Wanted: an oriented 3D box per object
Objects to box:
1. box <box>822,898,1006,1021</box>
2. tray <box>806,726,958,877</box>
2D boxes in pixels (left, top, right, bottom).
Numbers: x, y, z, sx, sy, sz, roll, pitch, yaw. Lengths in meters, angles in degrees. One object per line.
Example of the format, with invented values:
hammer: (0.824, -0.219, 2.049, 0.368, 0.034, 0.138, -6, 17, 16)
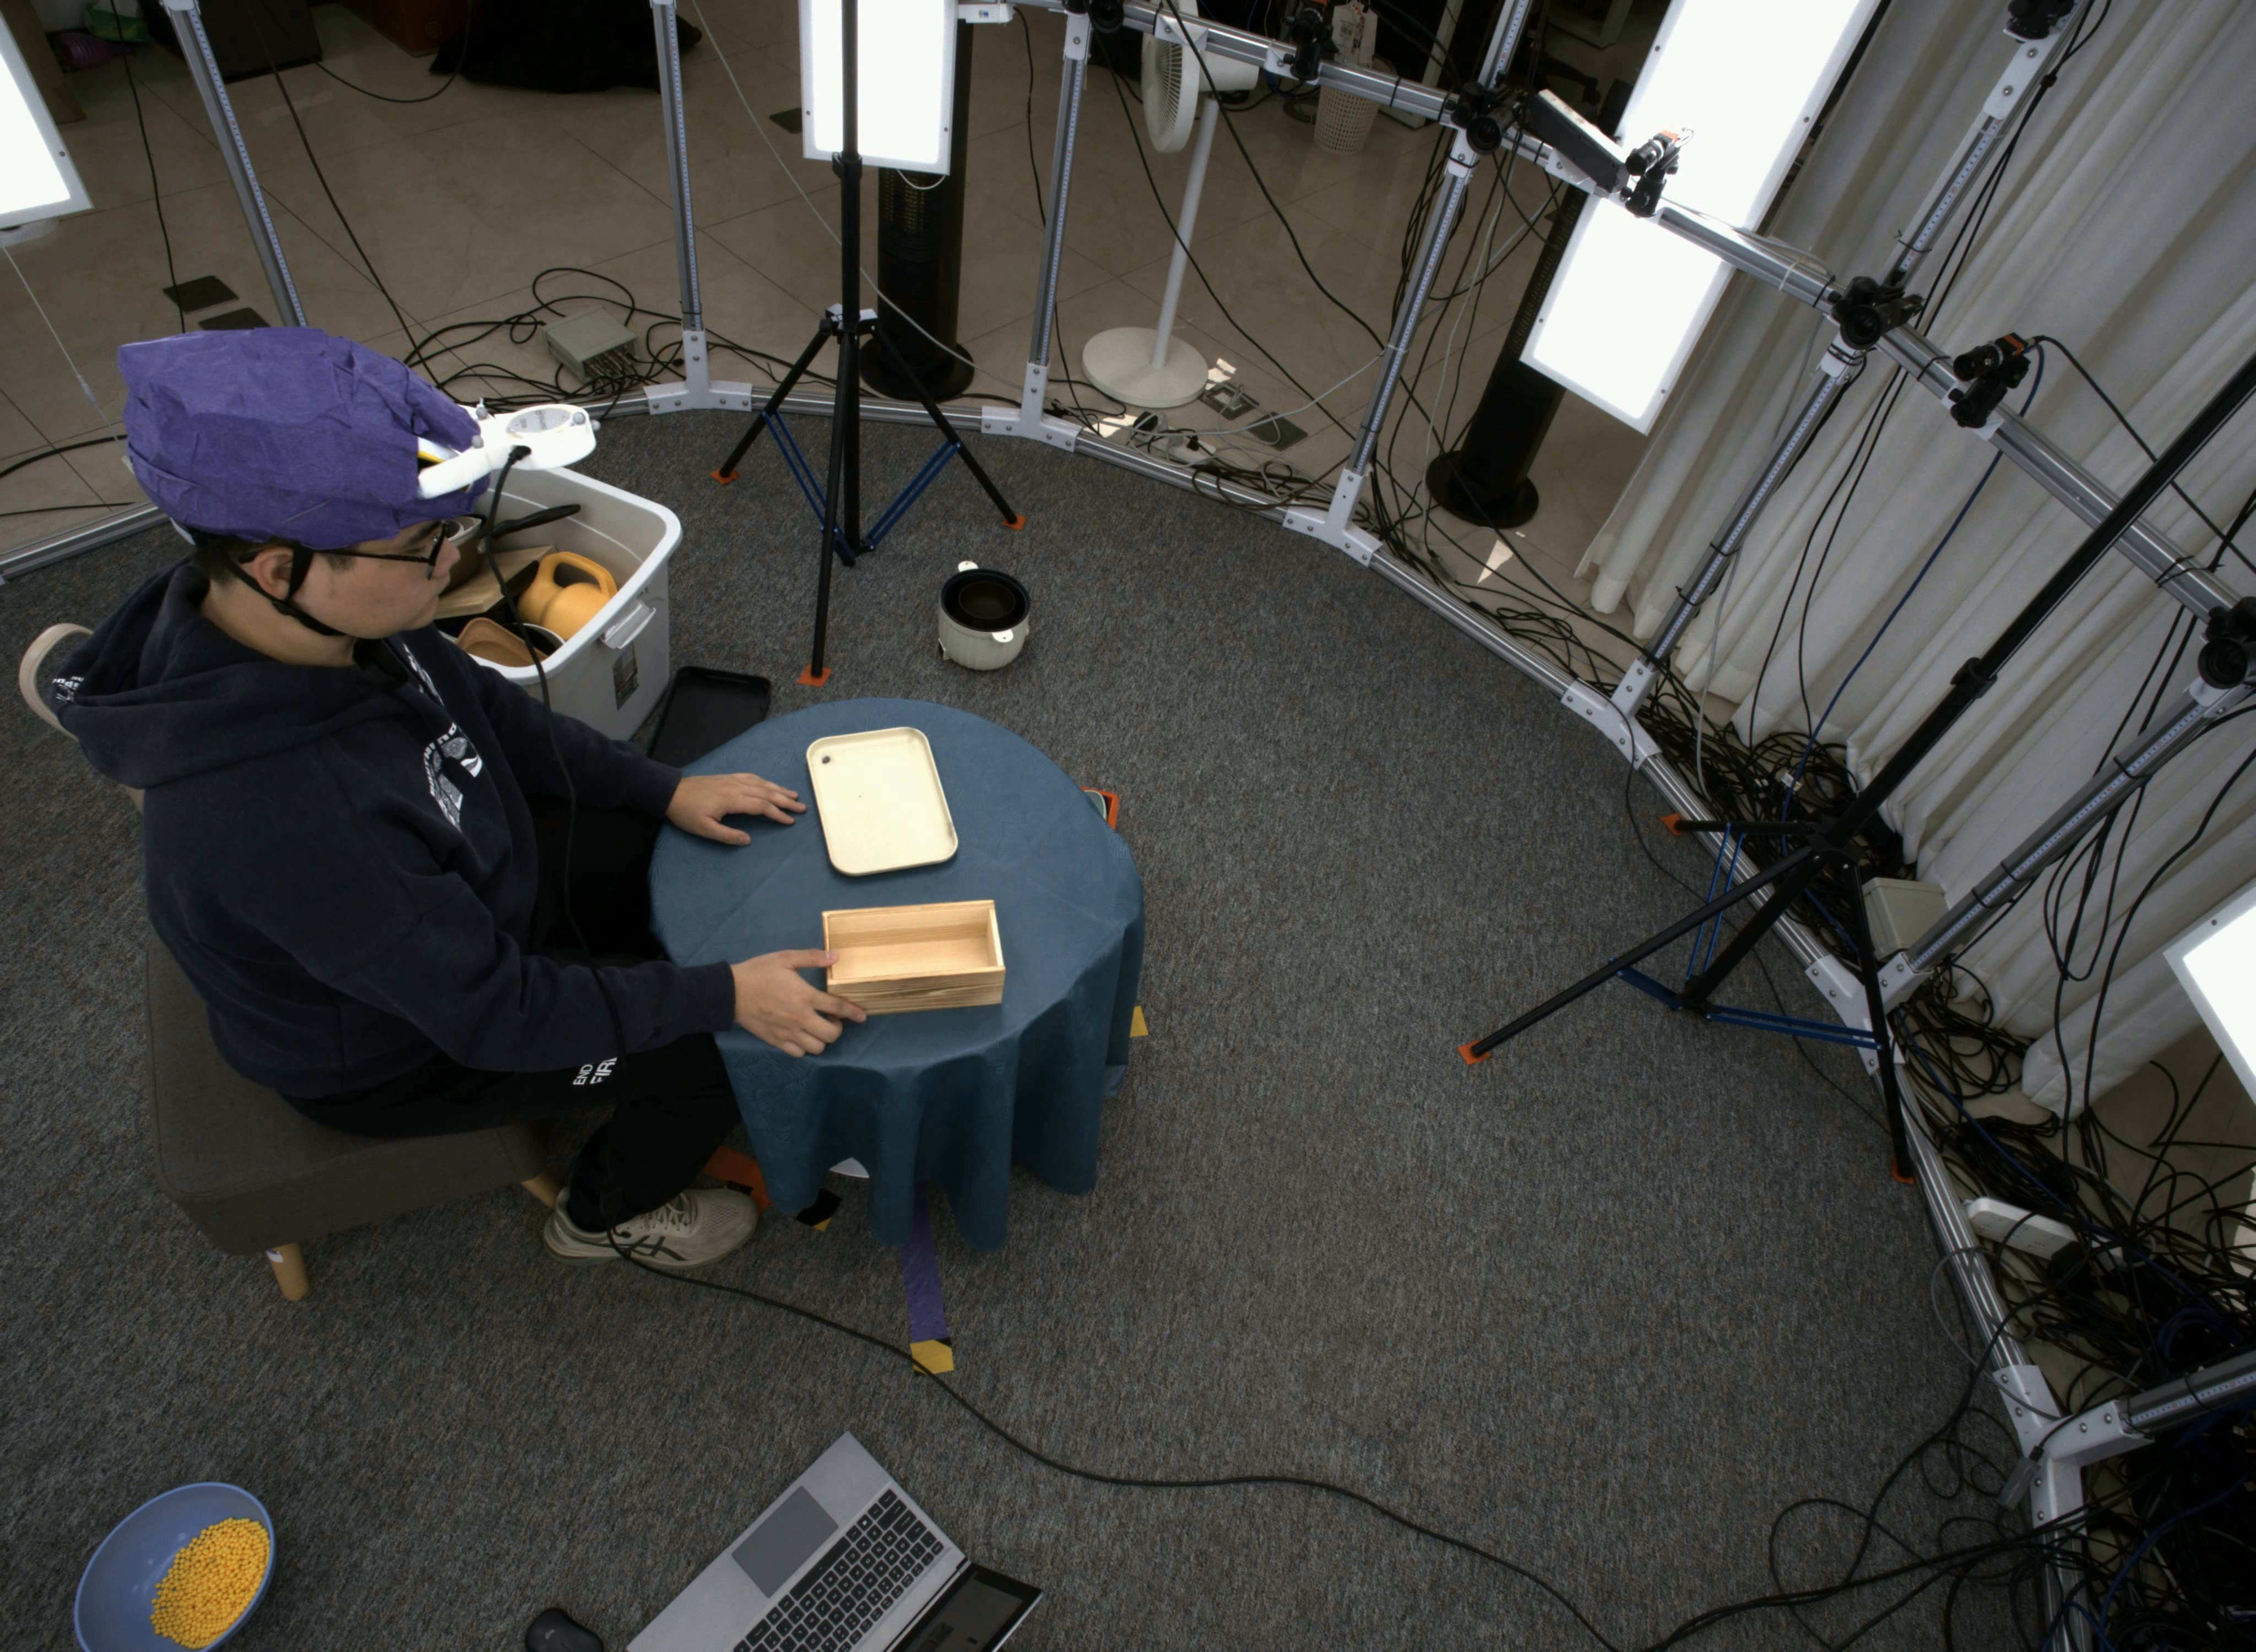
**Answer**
box: (-0.262, 0.160, 1.589, 0.212, 0.082, 0.105, -4, 54, -16)
tray: (-0.334, -0.036, 1.758, 0.172, 0.018, 0.234, -9, 57, -20)
